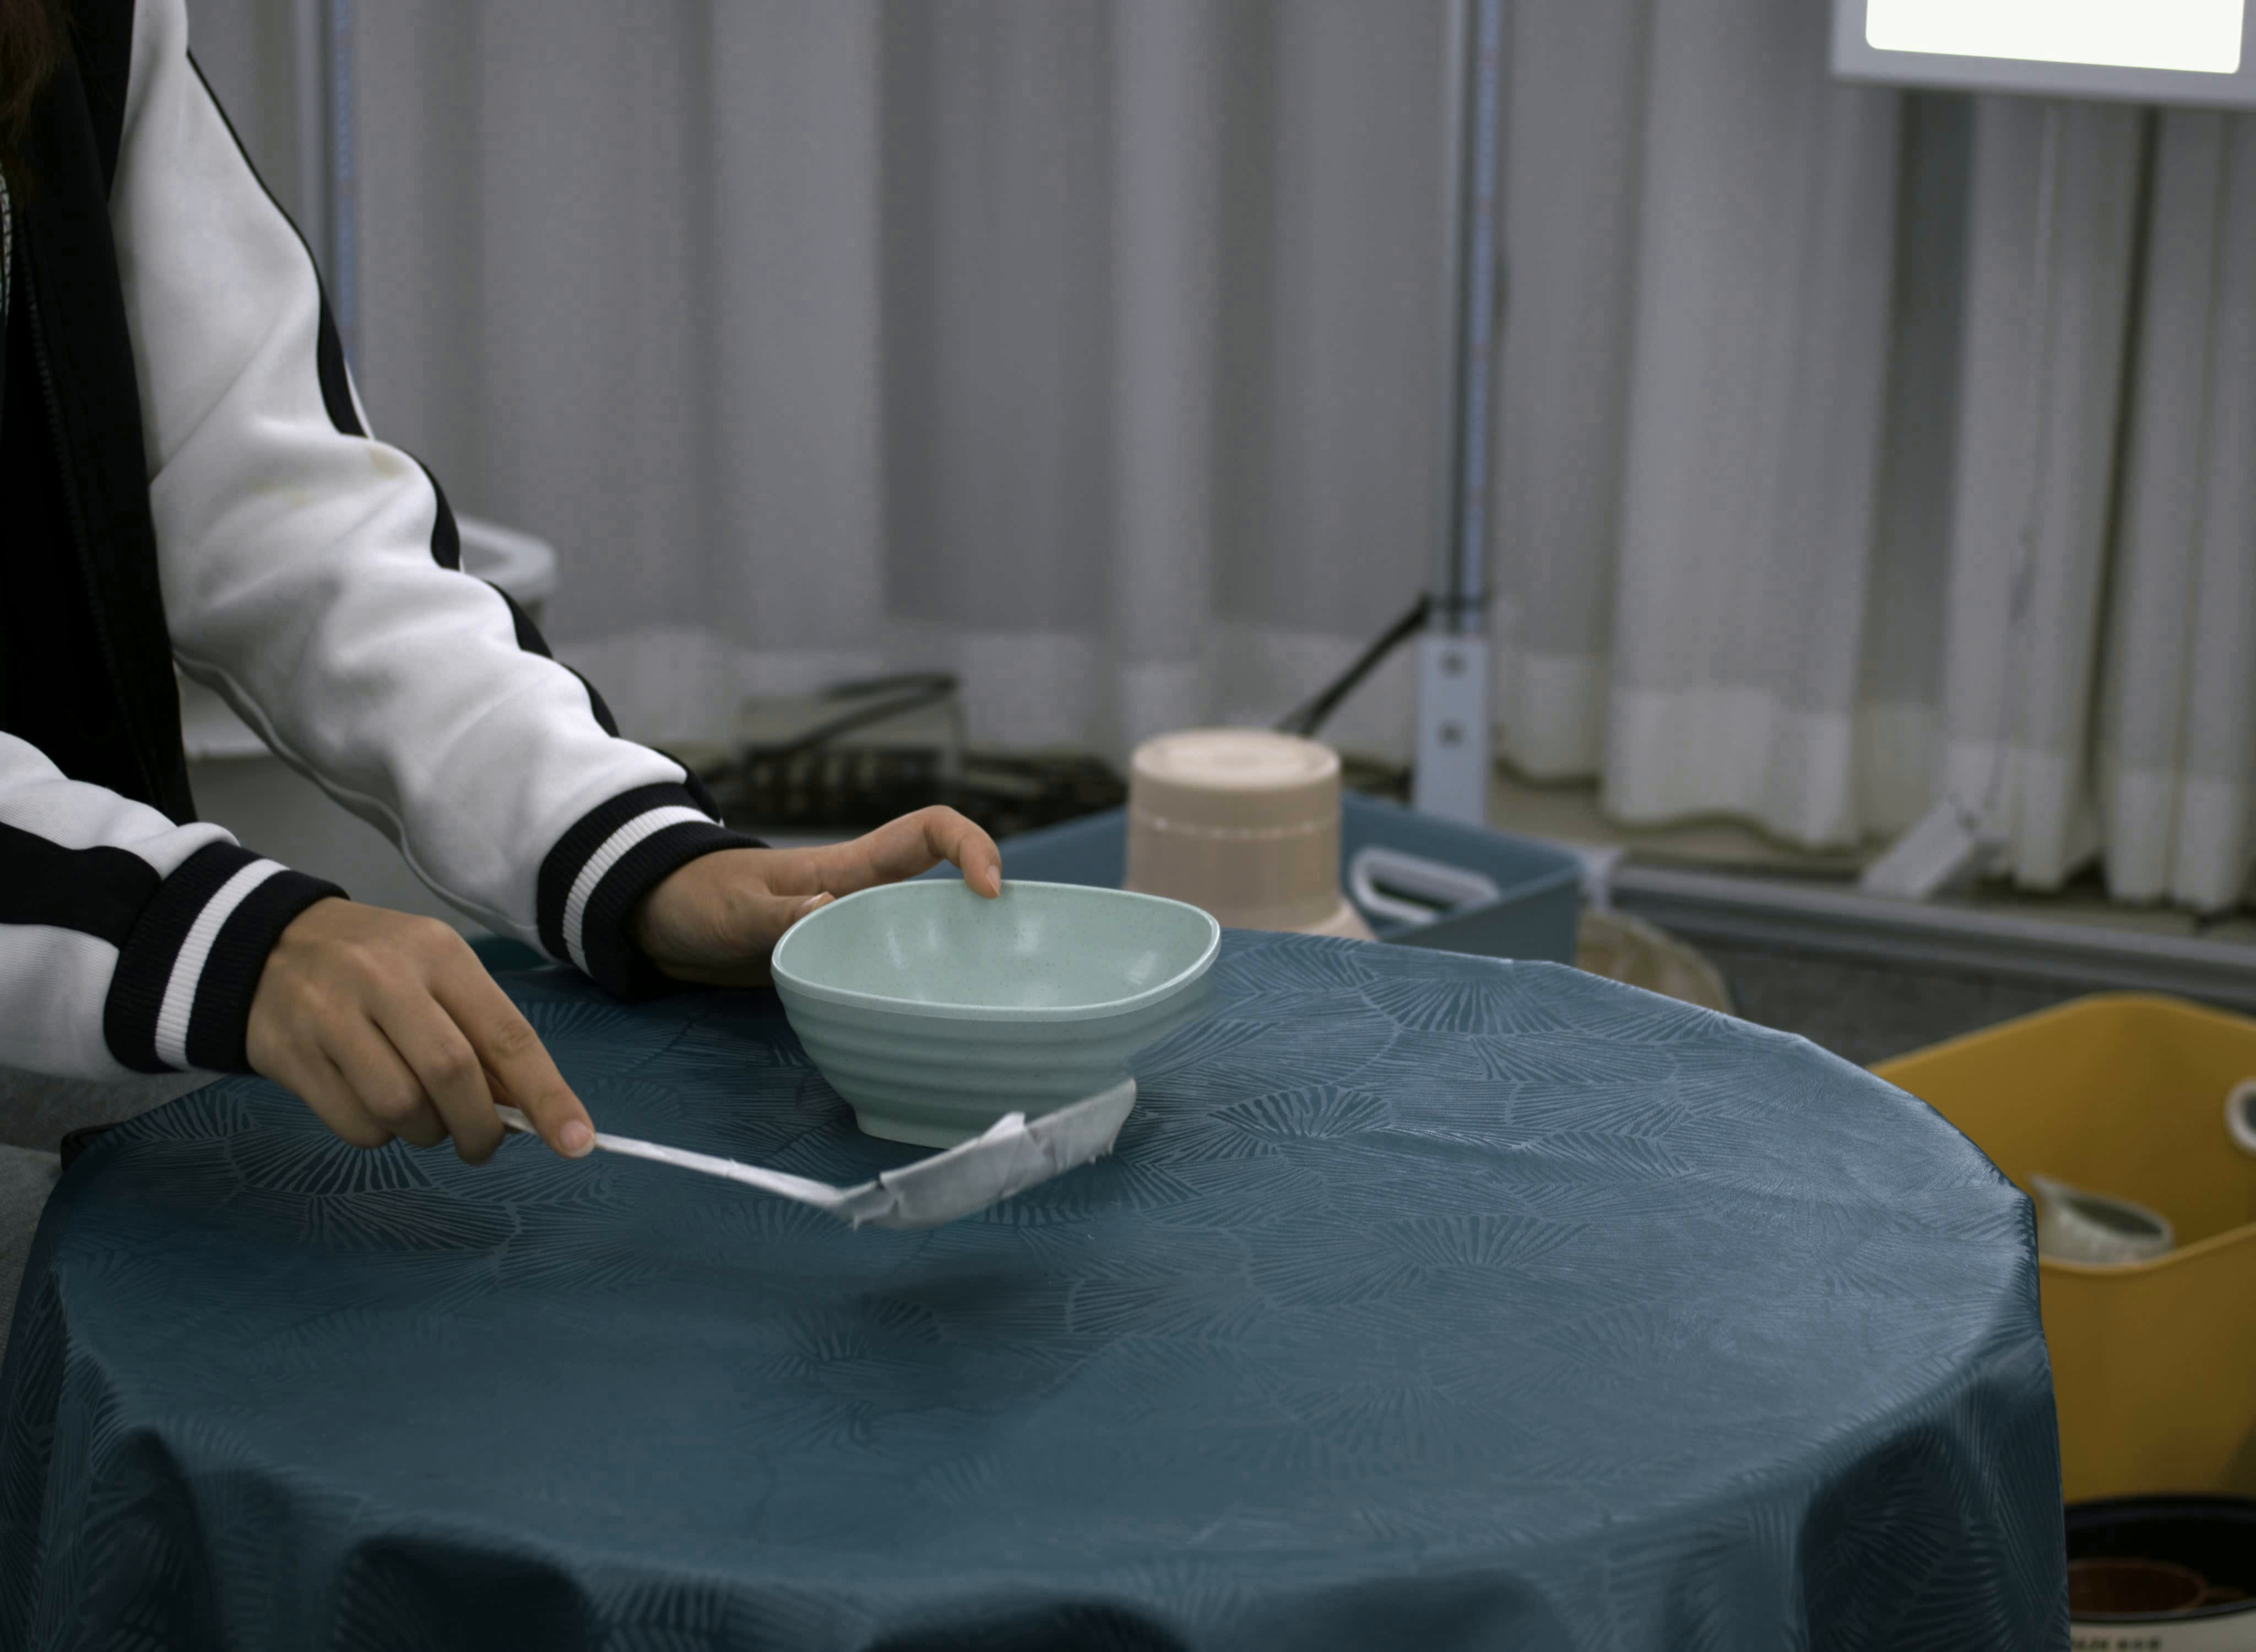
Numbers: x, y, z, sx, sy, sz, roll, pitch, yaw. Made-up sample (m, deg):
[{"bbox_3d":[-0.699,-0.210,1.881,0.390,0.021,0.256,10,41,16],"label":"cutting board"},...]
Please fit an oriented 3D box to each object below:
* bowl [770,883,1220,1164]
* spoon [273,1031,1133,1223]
[{"bbox_3d":[-0.042,0.066,1.688,0.151,0.059,0.150,1,16,0],"label":"bowl"},{"bbox_3d":[-0.129,0.069,1.549,0.274,0.059,0.101,14,5,23],"label":"spoon"}]
